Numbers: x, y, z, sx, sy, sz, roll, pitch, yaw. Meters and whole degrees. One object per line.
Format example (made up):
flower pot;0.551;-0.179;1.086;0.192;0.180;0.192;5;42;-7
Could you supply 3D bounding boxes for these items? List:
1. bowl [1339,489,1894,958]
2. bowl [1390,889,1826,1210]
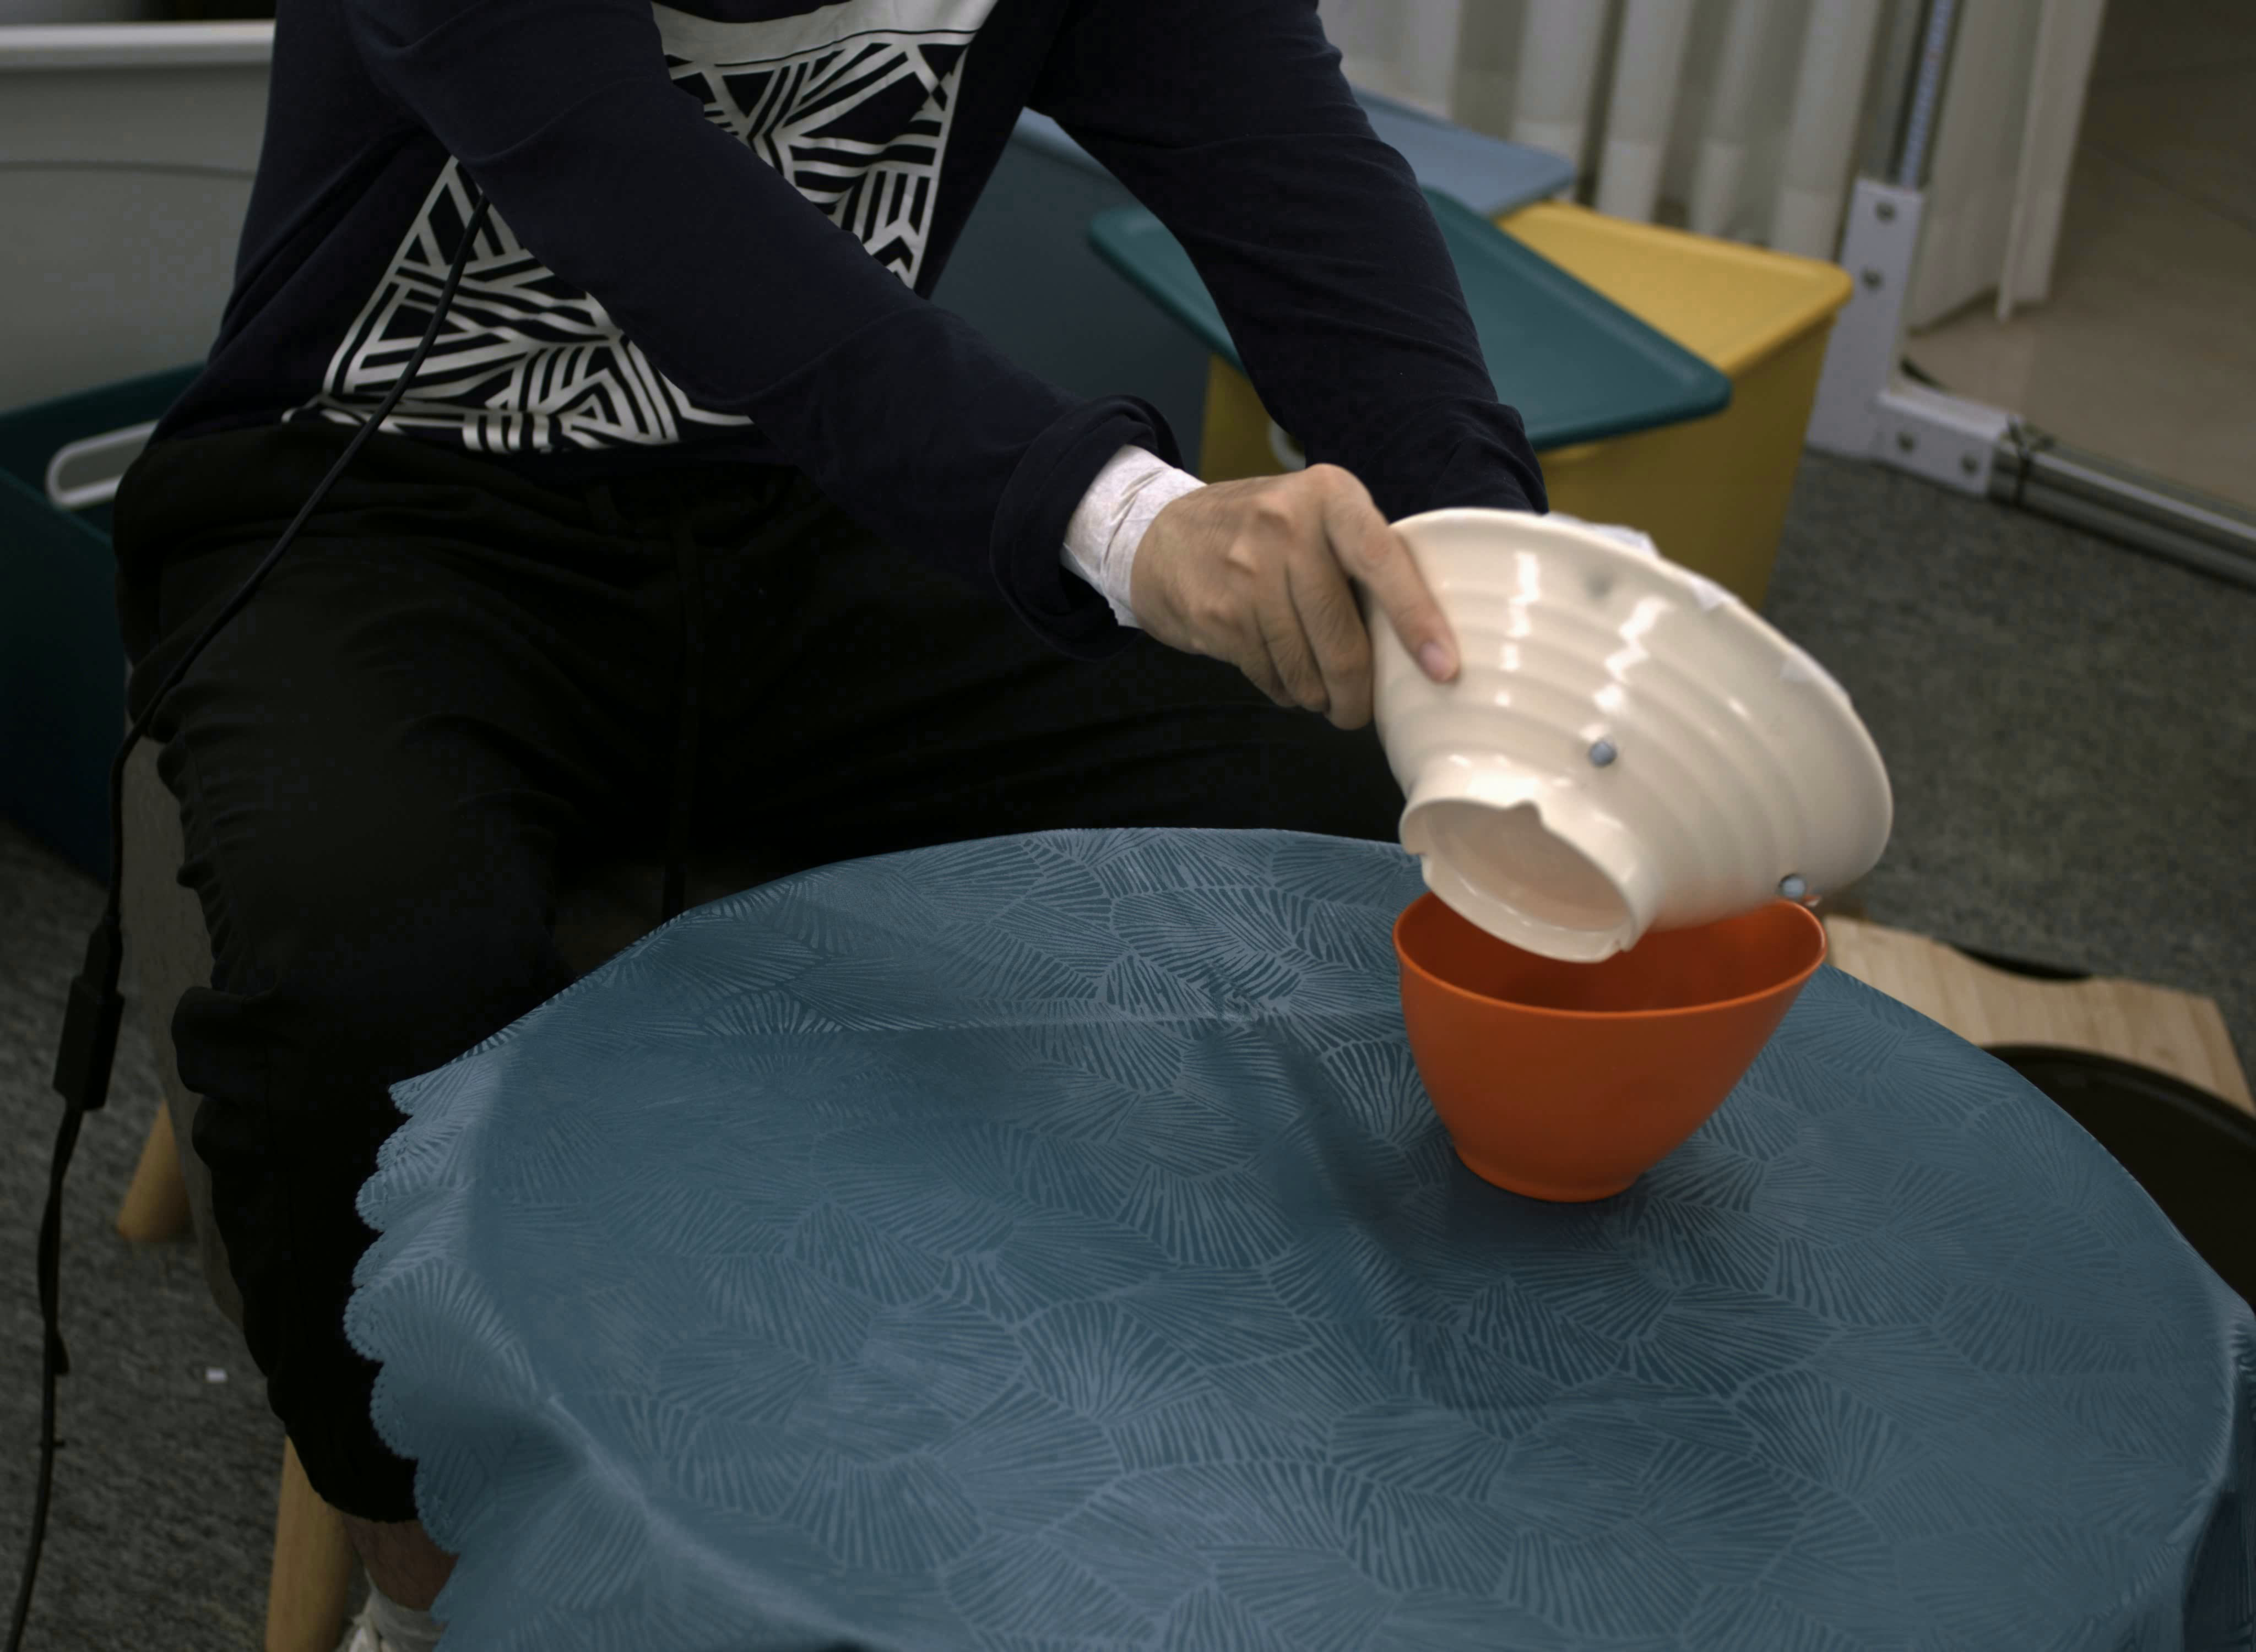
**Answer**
bowl;0.146;-0.013;1.765;0.205;0.202;0.078;19;58;22
bowl;0.159;0.076;1.827;0.147;0.104;0.149;4;25;-2
